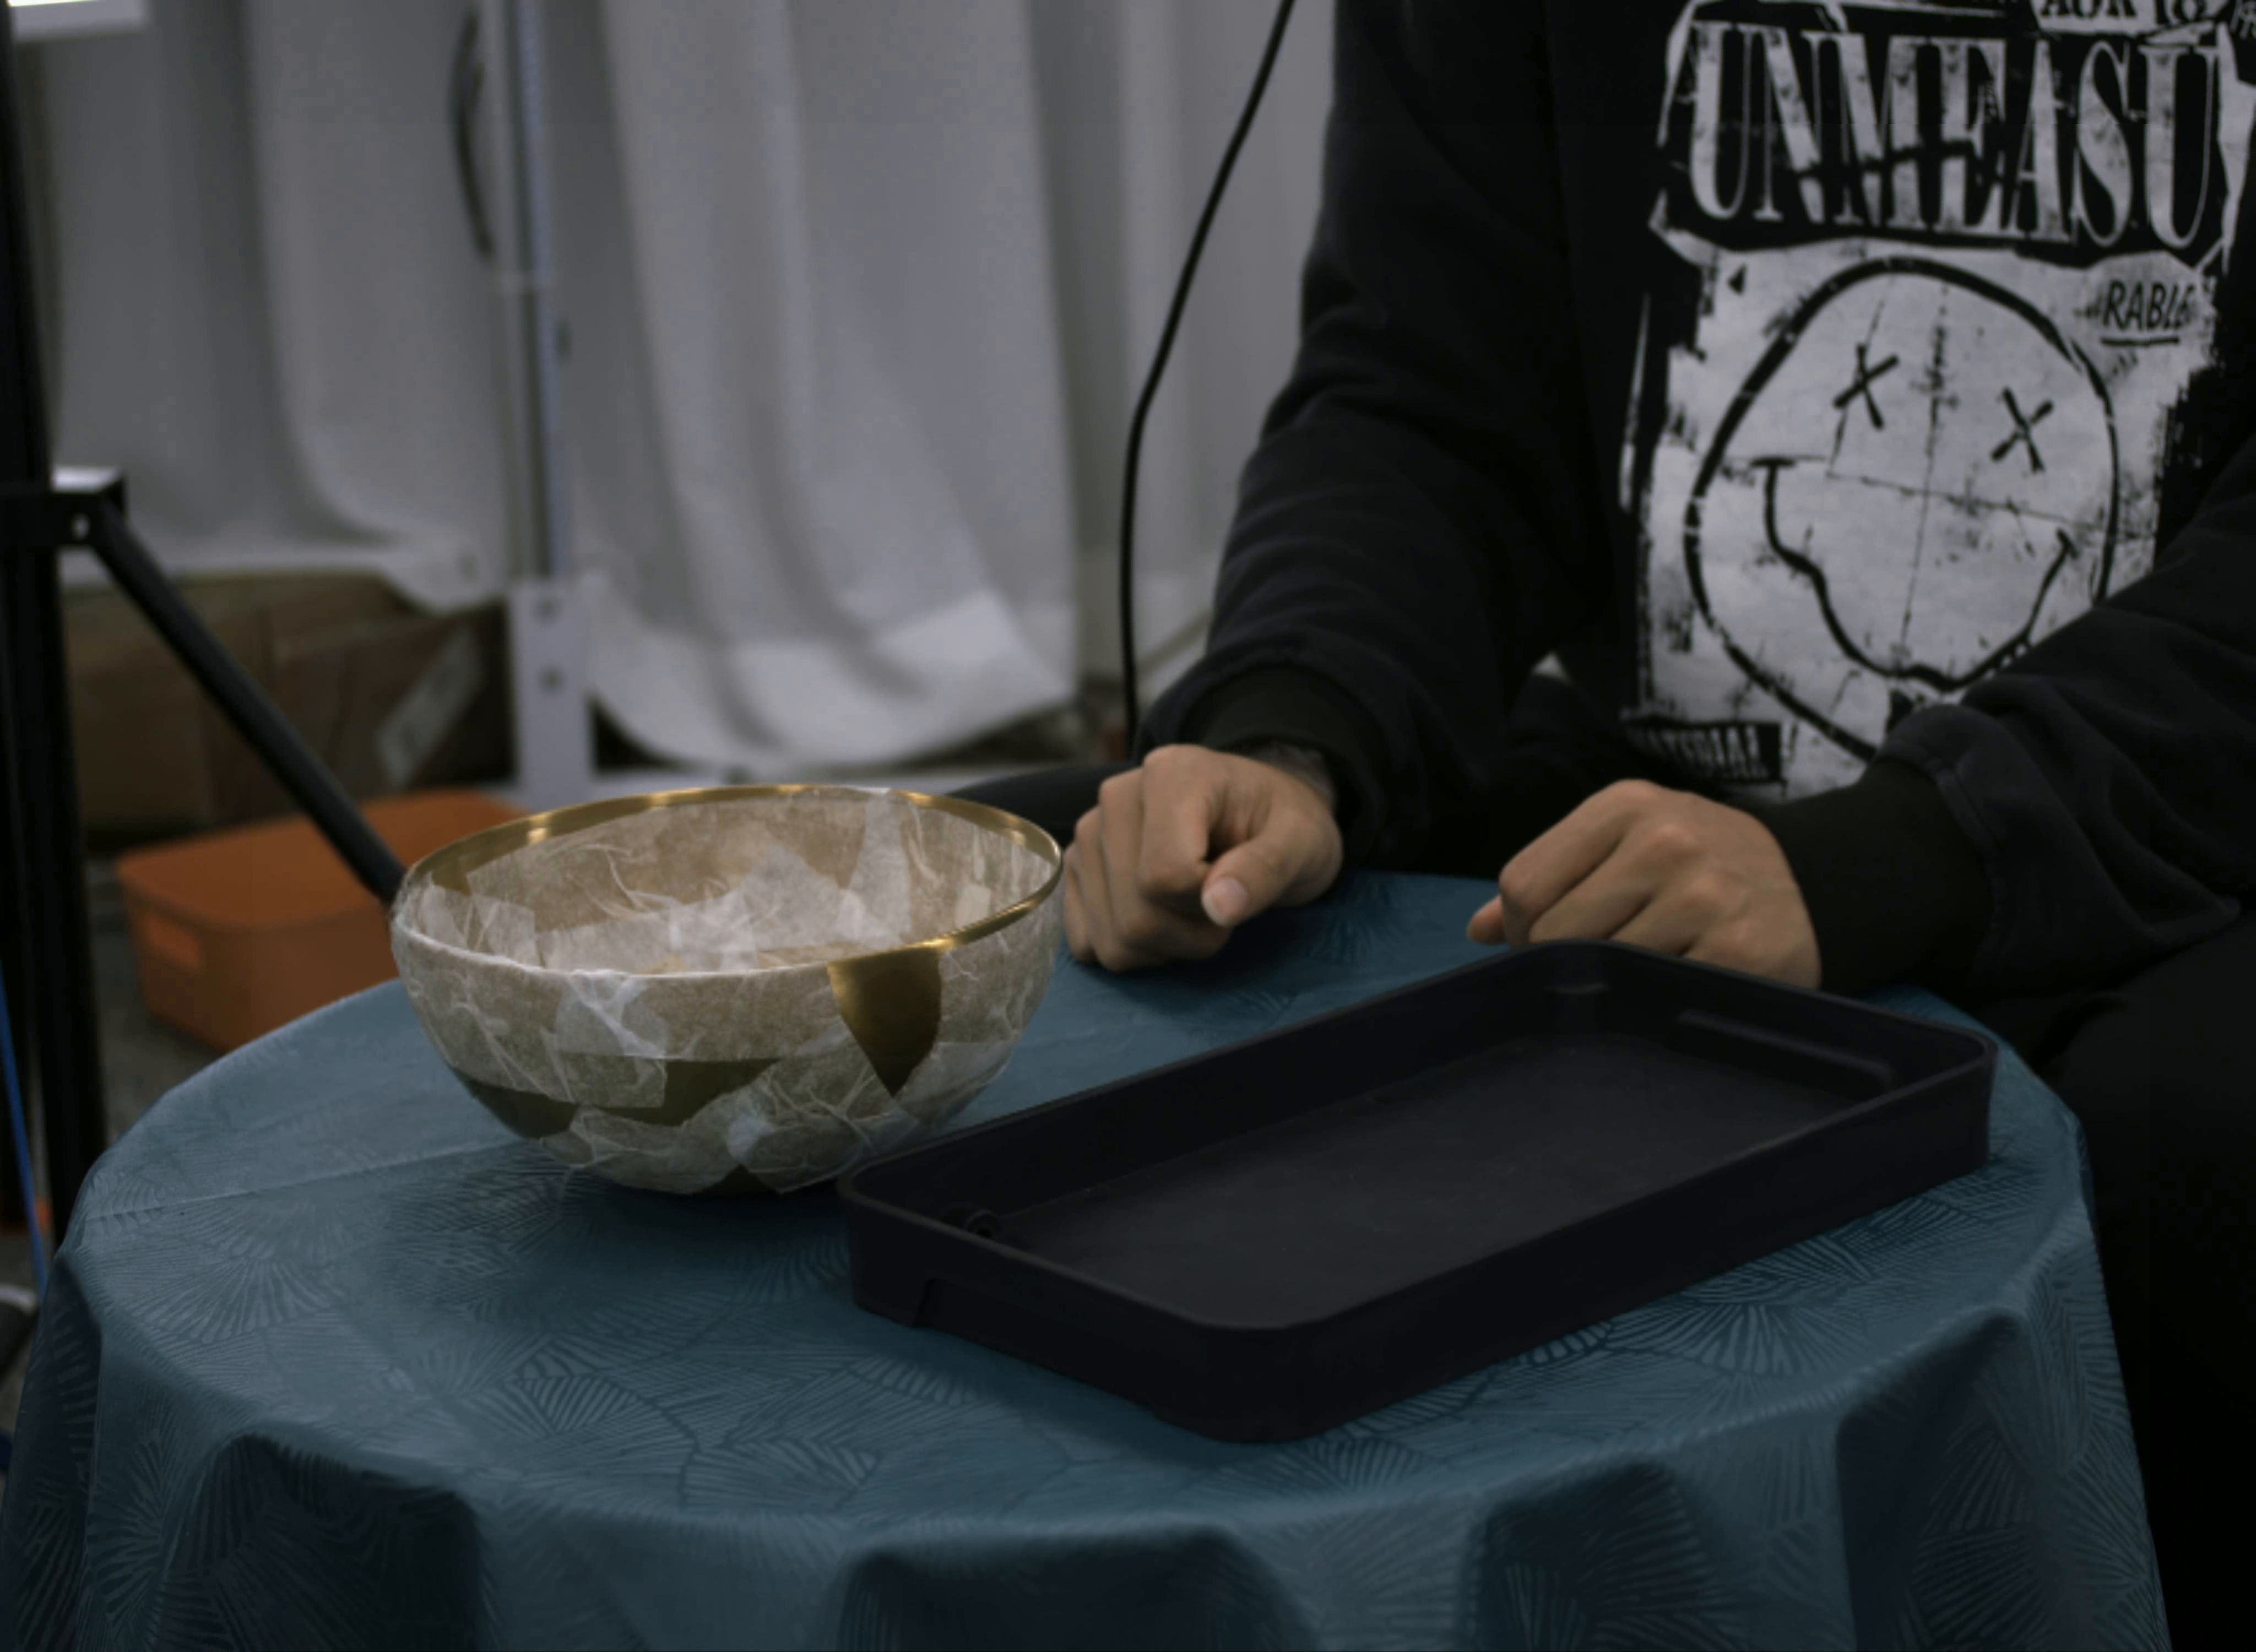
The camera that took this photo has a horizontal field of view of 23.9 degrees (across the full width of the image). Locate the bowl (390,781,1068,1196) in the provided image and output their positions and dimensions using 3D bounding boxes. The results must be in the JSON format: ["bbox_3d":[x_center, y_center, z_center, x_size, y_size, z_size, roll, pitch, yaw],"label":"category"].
[{"bbox_3d":[-0.113,0.056,1.593,0.213,0.094,0.216,-4,15,0],"label":"bowl"}]

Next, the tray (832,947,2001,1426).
[{"bbox_3d":[0.087,0.096,1.512,0.310,0.037,0.188,-14,18,-38],"label":"tray"}]
